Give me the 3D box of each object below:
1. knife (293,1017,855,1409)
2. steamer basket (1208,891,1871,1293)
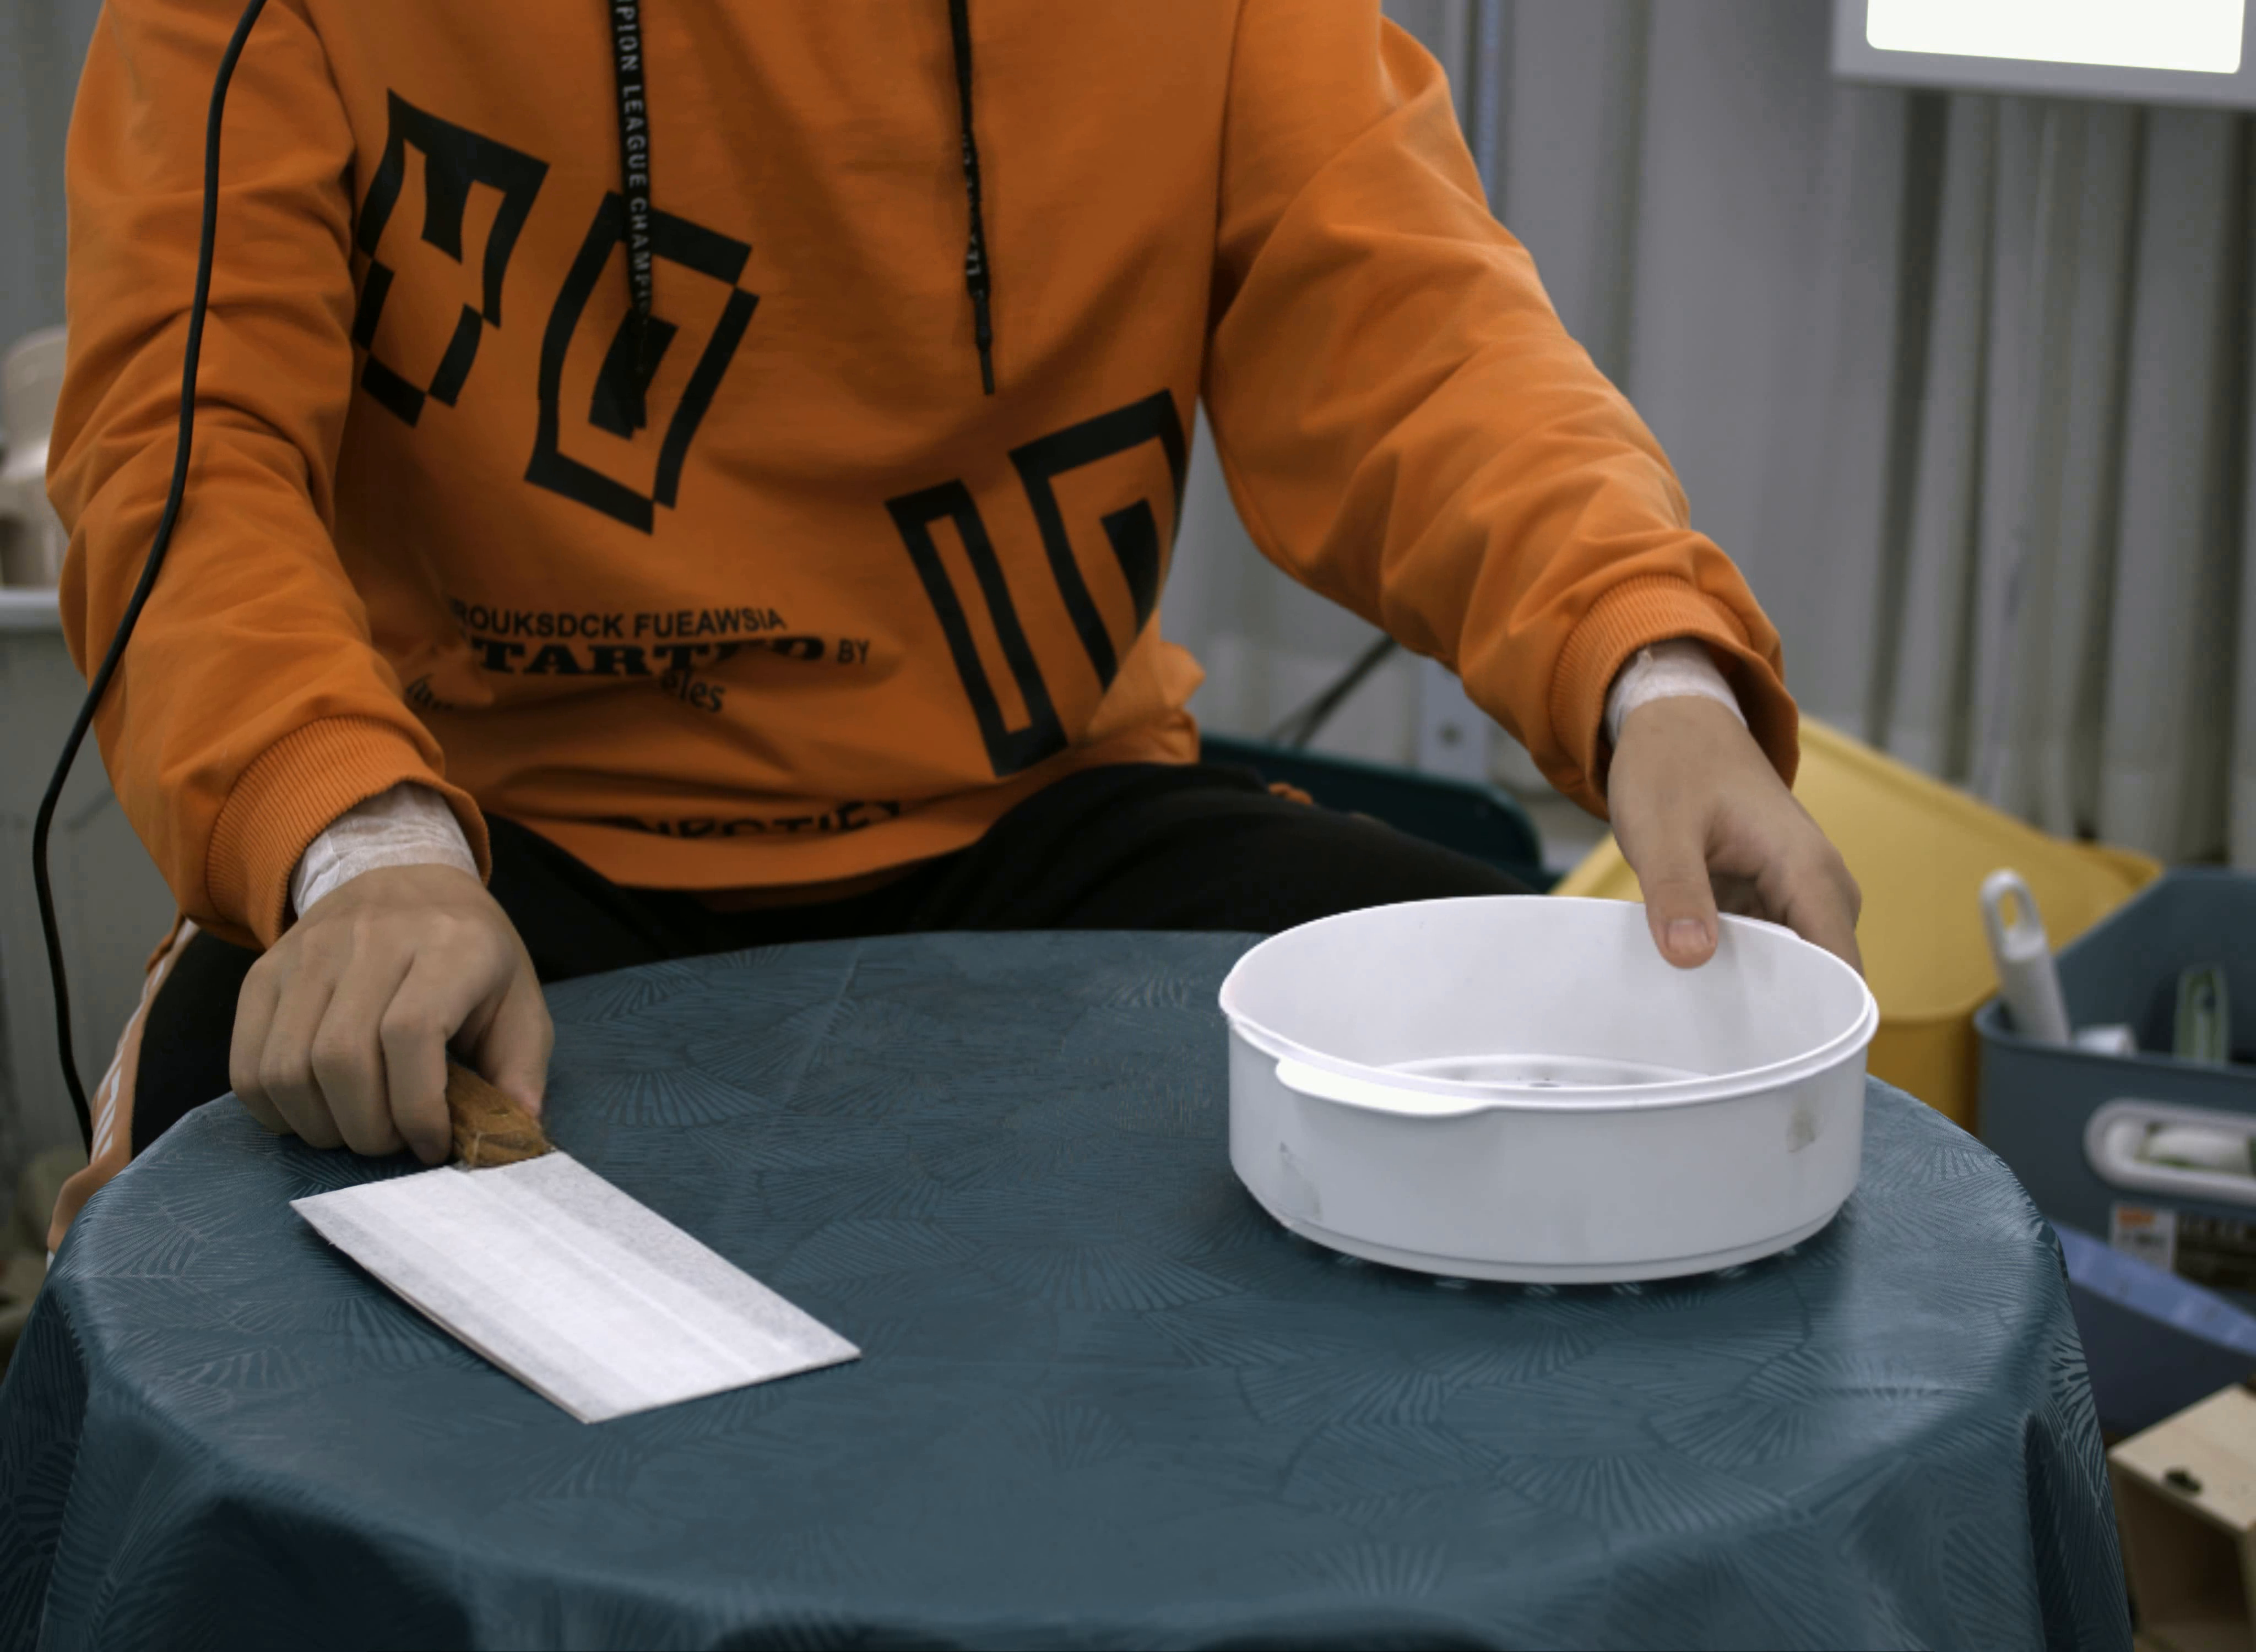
[{"bbox_3d":[-0.194,0.115,1.577,0.093,0.021,0.301,-11,22,-32],"label":"knife"},{"bbox_3d":[0.125,0.081,1.608,0.199,0.070,0.231,10,20,32],"label":"steamer basket"}]
